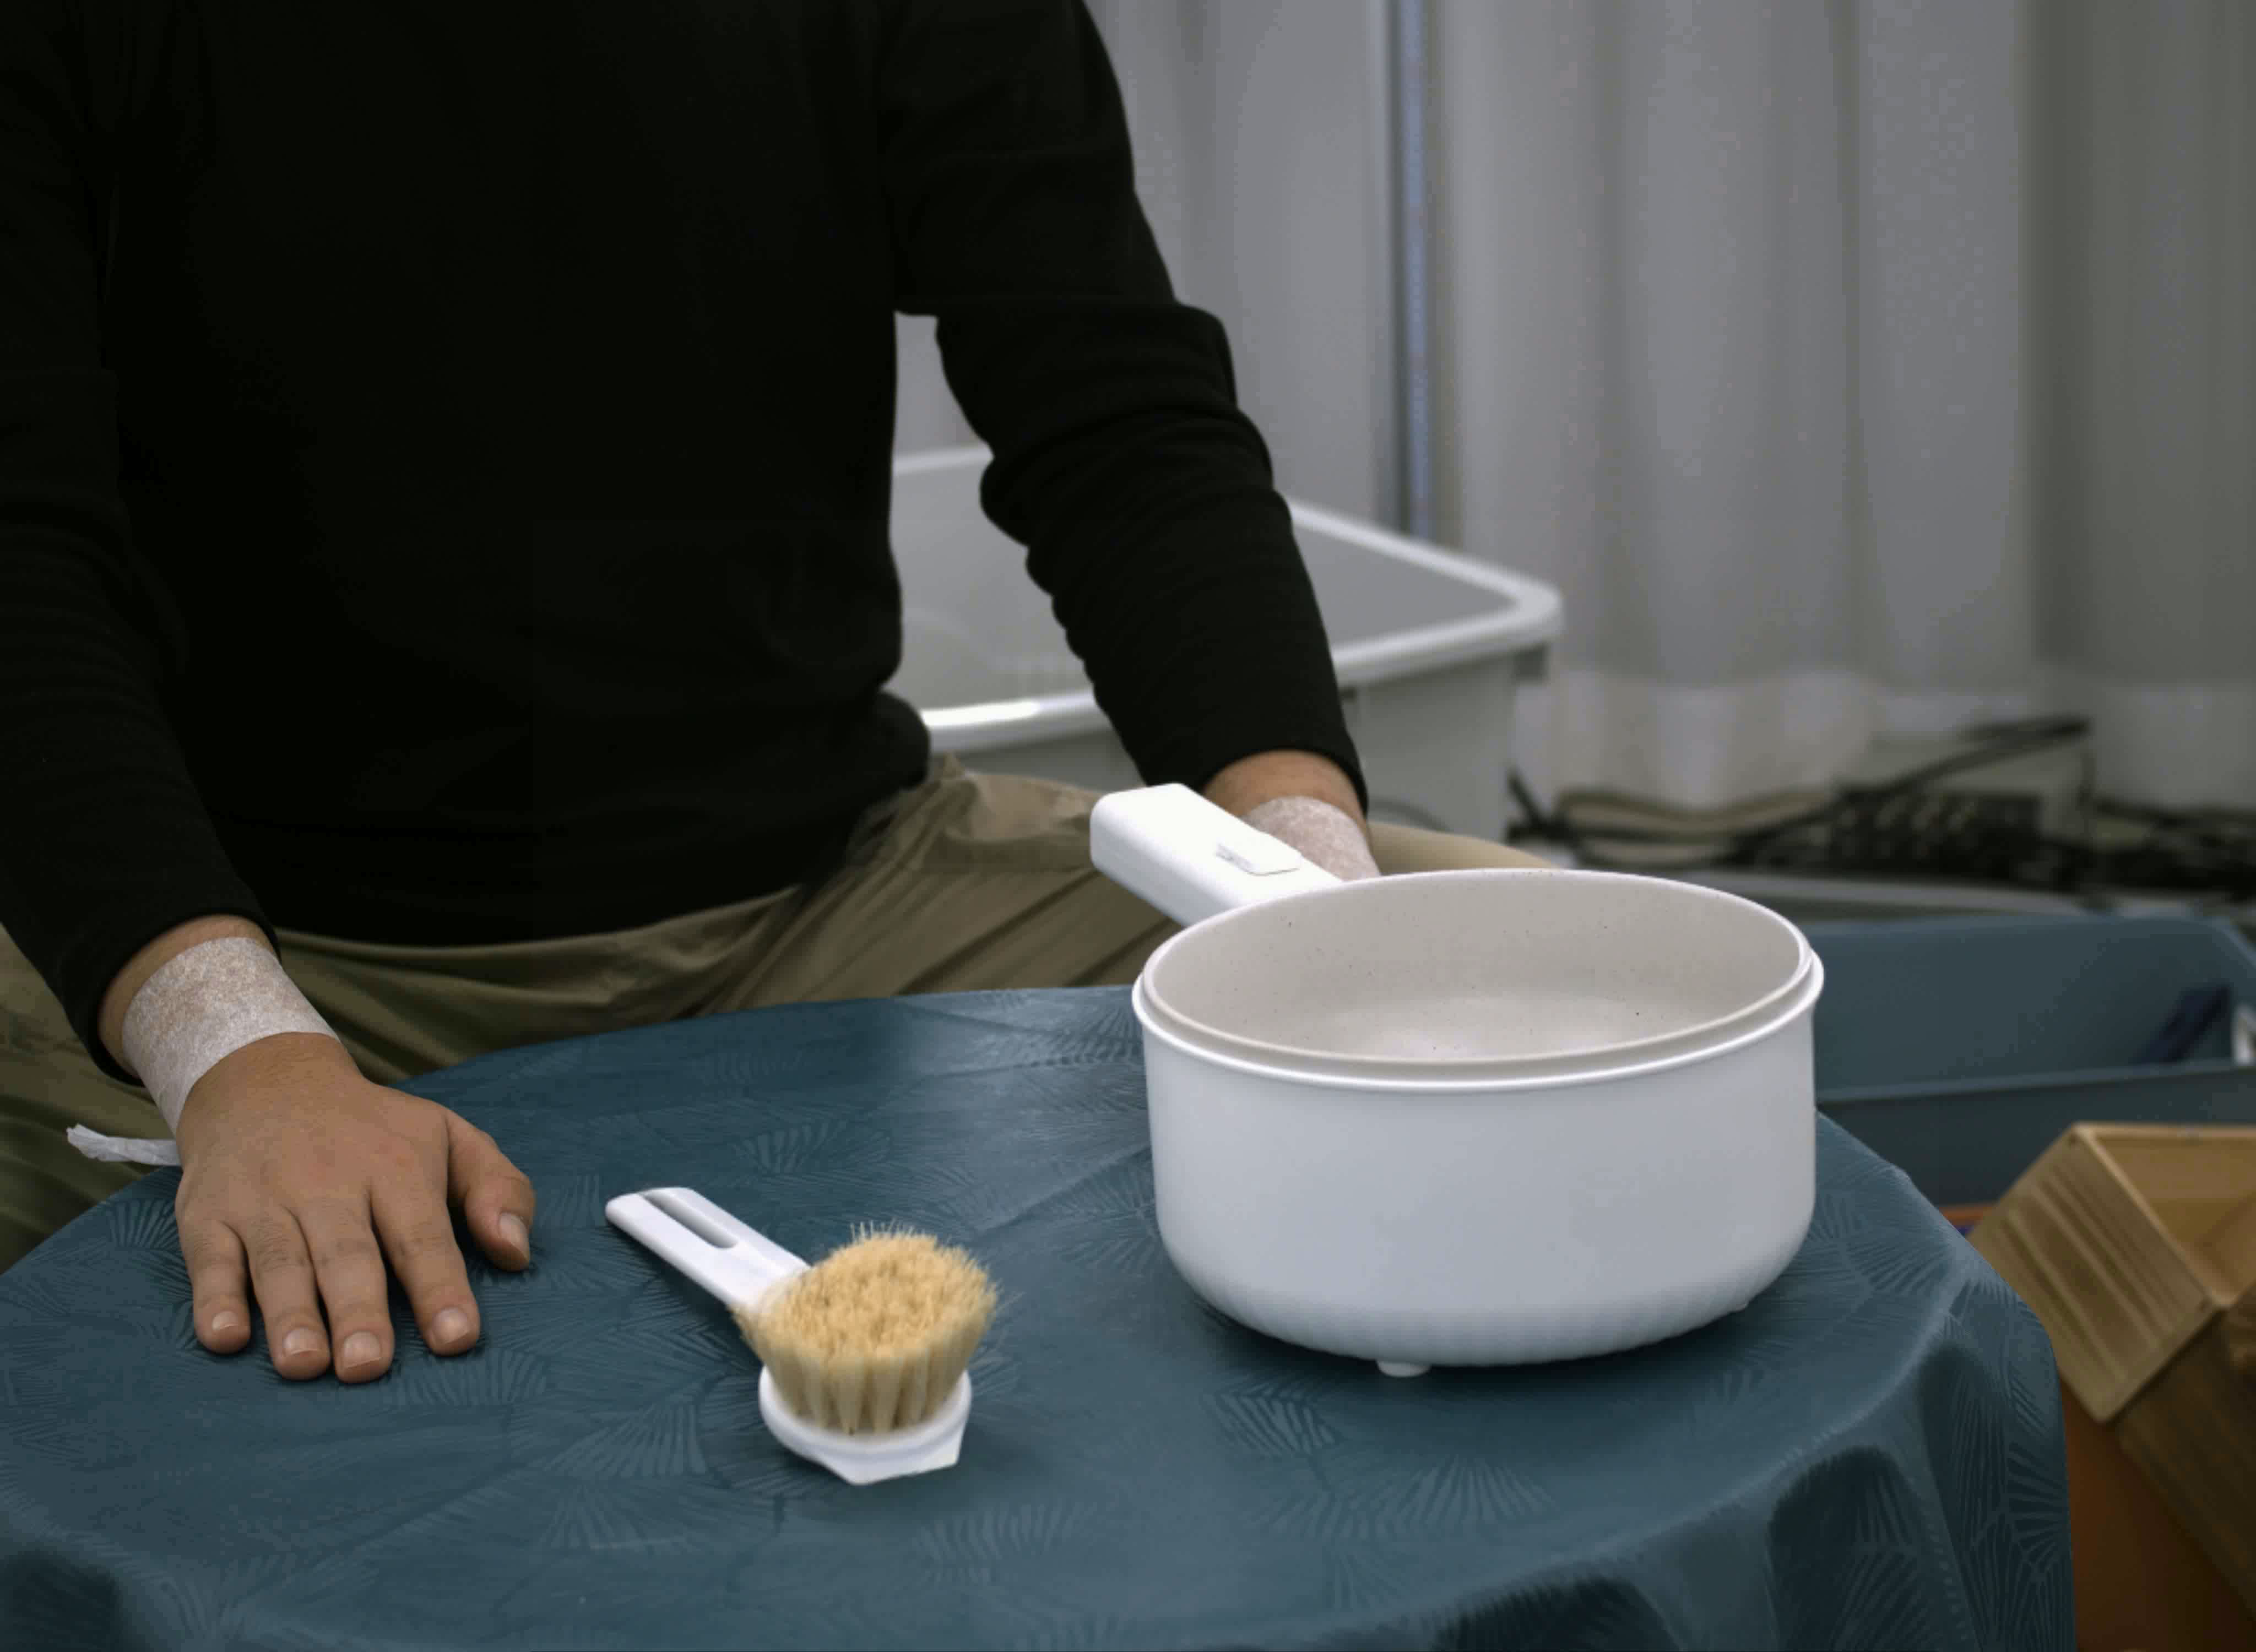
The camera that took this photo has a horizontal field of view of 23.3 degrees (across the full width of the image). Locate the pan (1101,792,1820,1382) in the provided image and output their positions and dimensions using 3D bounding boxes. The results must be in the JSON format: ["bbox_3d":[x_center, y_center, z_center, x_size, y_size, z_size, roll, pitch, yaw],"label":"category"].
[{"bbox_3d":[0.074,0.073,1.672,0.200,0.102,0.357,-9,15,-21],"label":"pan"}]

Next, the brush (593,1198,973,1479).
[{"bbox_3d":[-0.113,0.125,1.595,0.068,0.056,0.268,-3,13,-19],"label":"brush"}]
